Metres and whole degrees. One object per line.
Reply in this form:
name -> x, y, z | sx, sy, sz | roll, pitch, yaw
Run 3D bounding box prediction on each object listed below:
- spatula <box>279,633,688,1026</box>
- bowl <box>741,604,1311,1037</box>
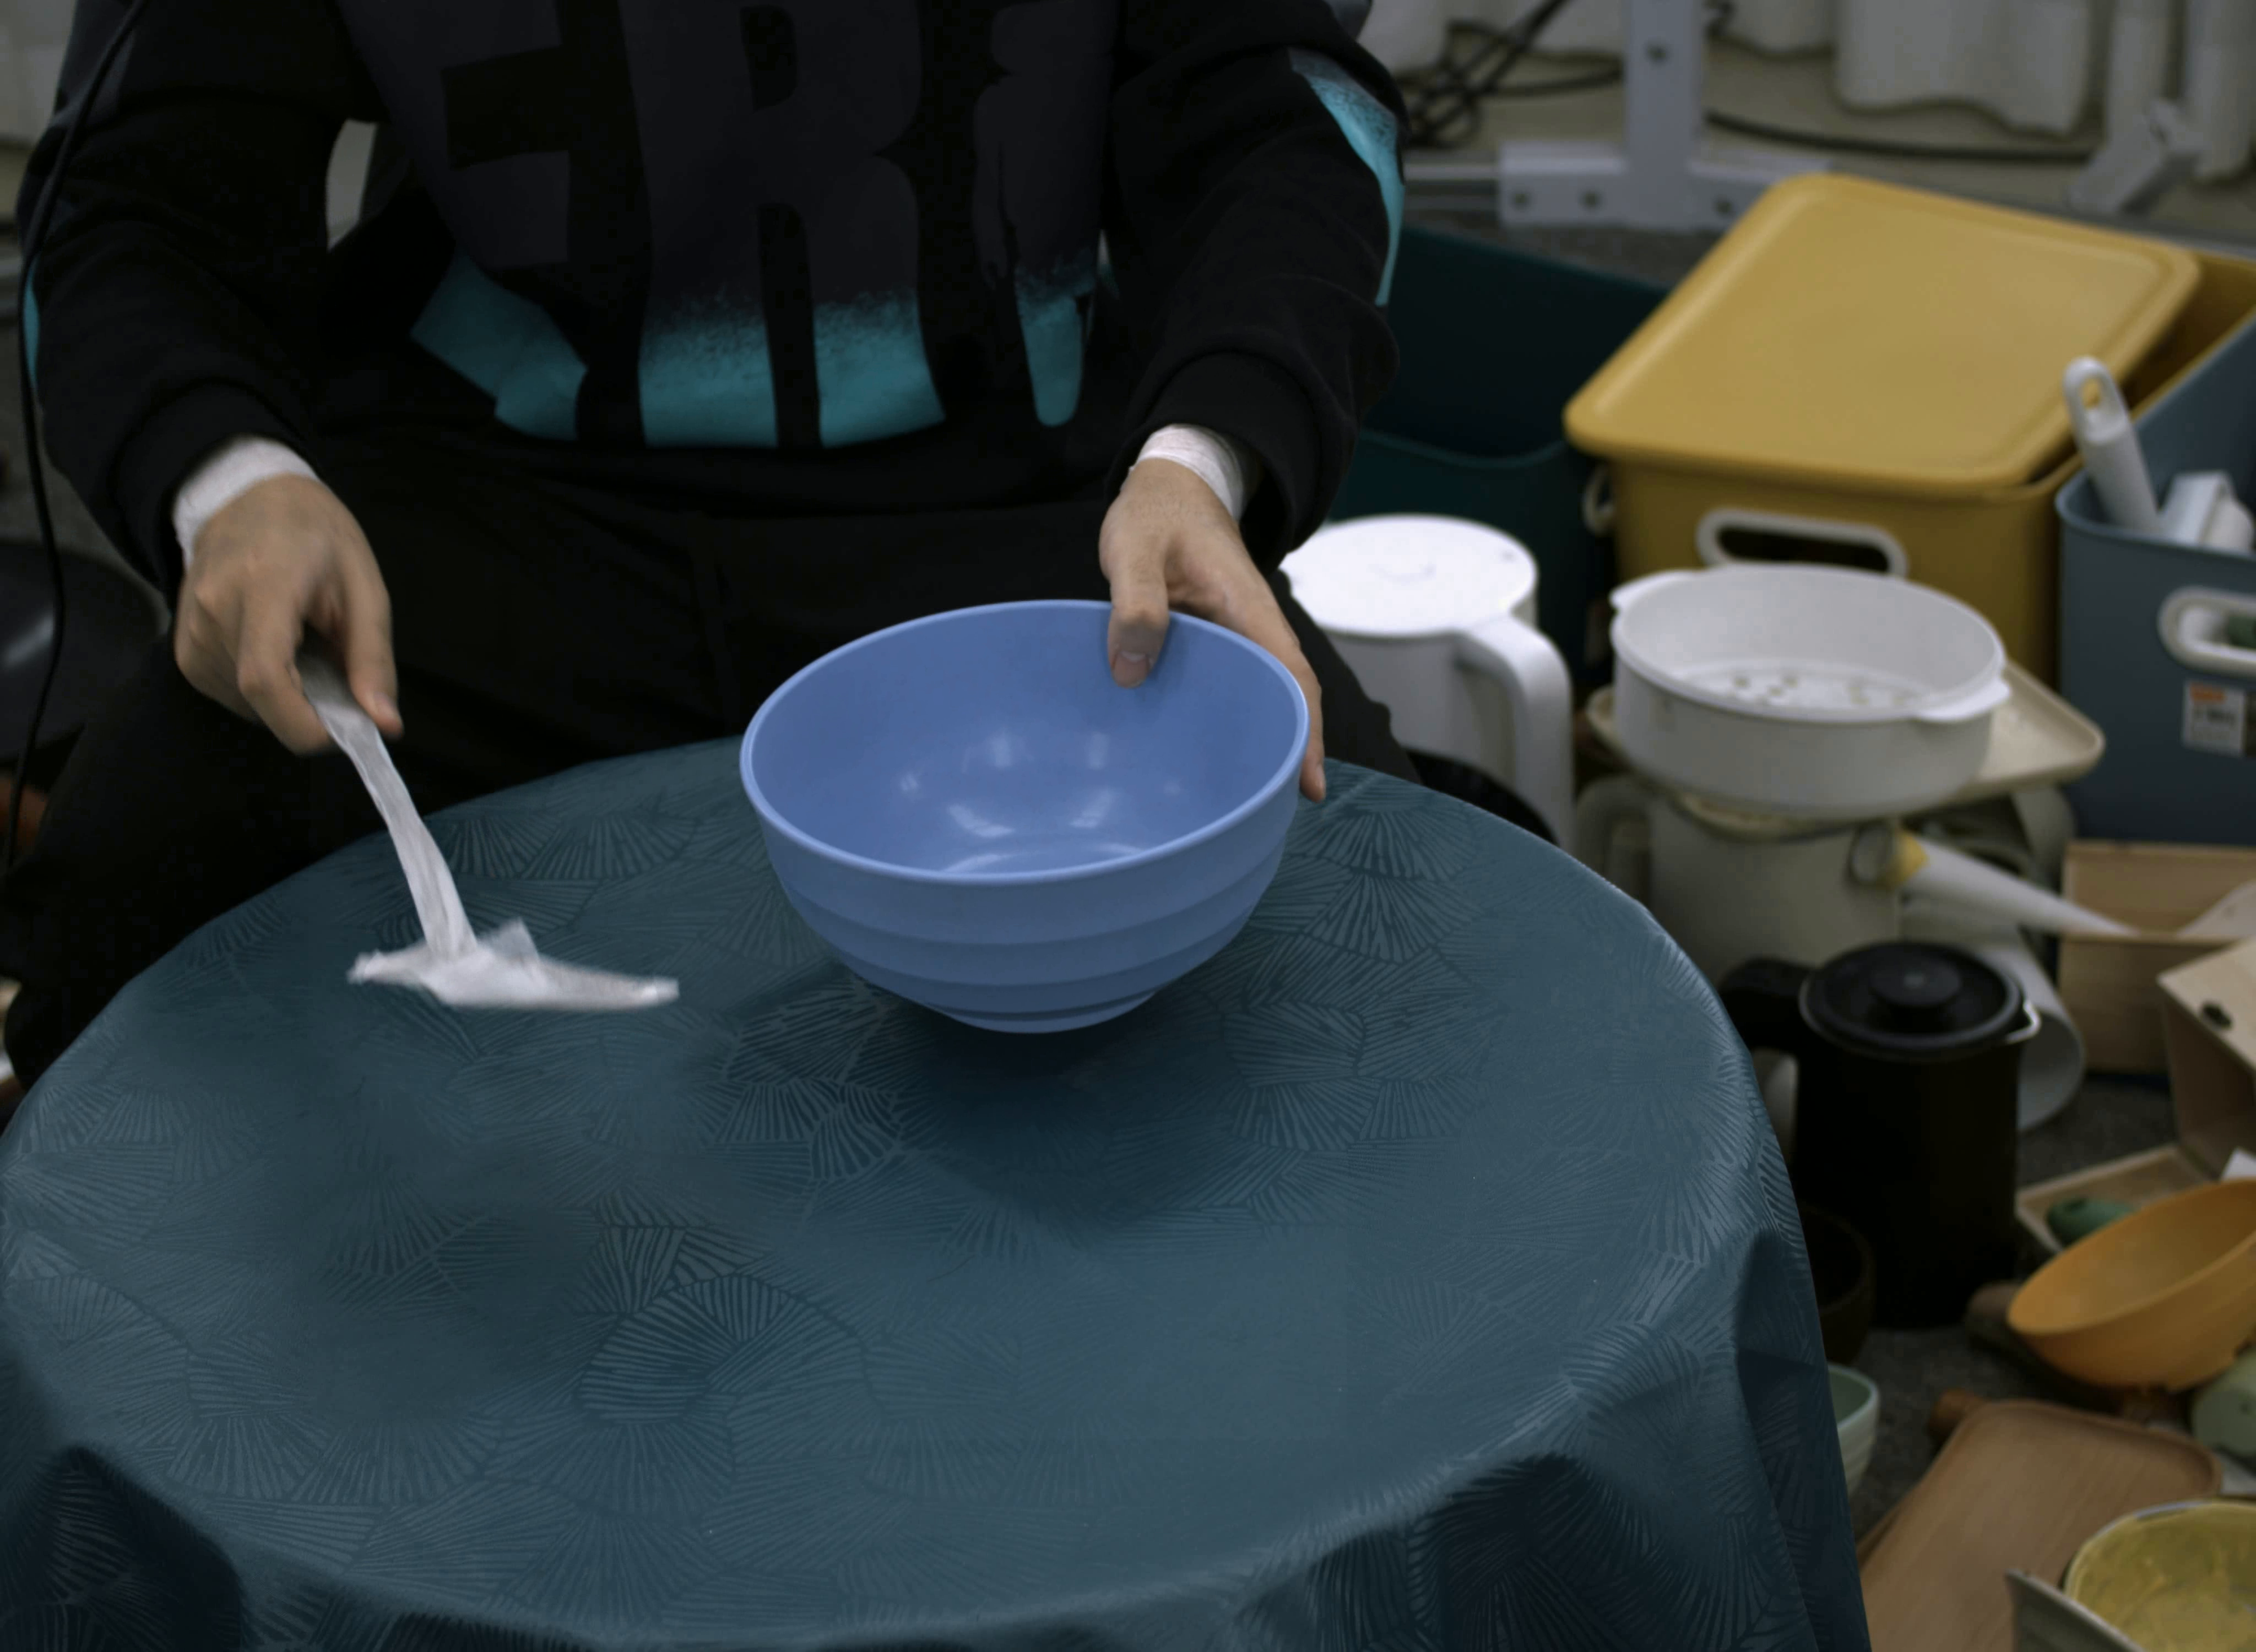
spatula -> -0.245, -0.005, 1.927 | 0.099, 0.044, 0.368 | 3, 26, -24
bowl -> -0.031, 0.009, 1.943 | 0.195, 0.094, 0.199 | -4, 29, 3
